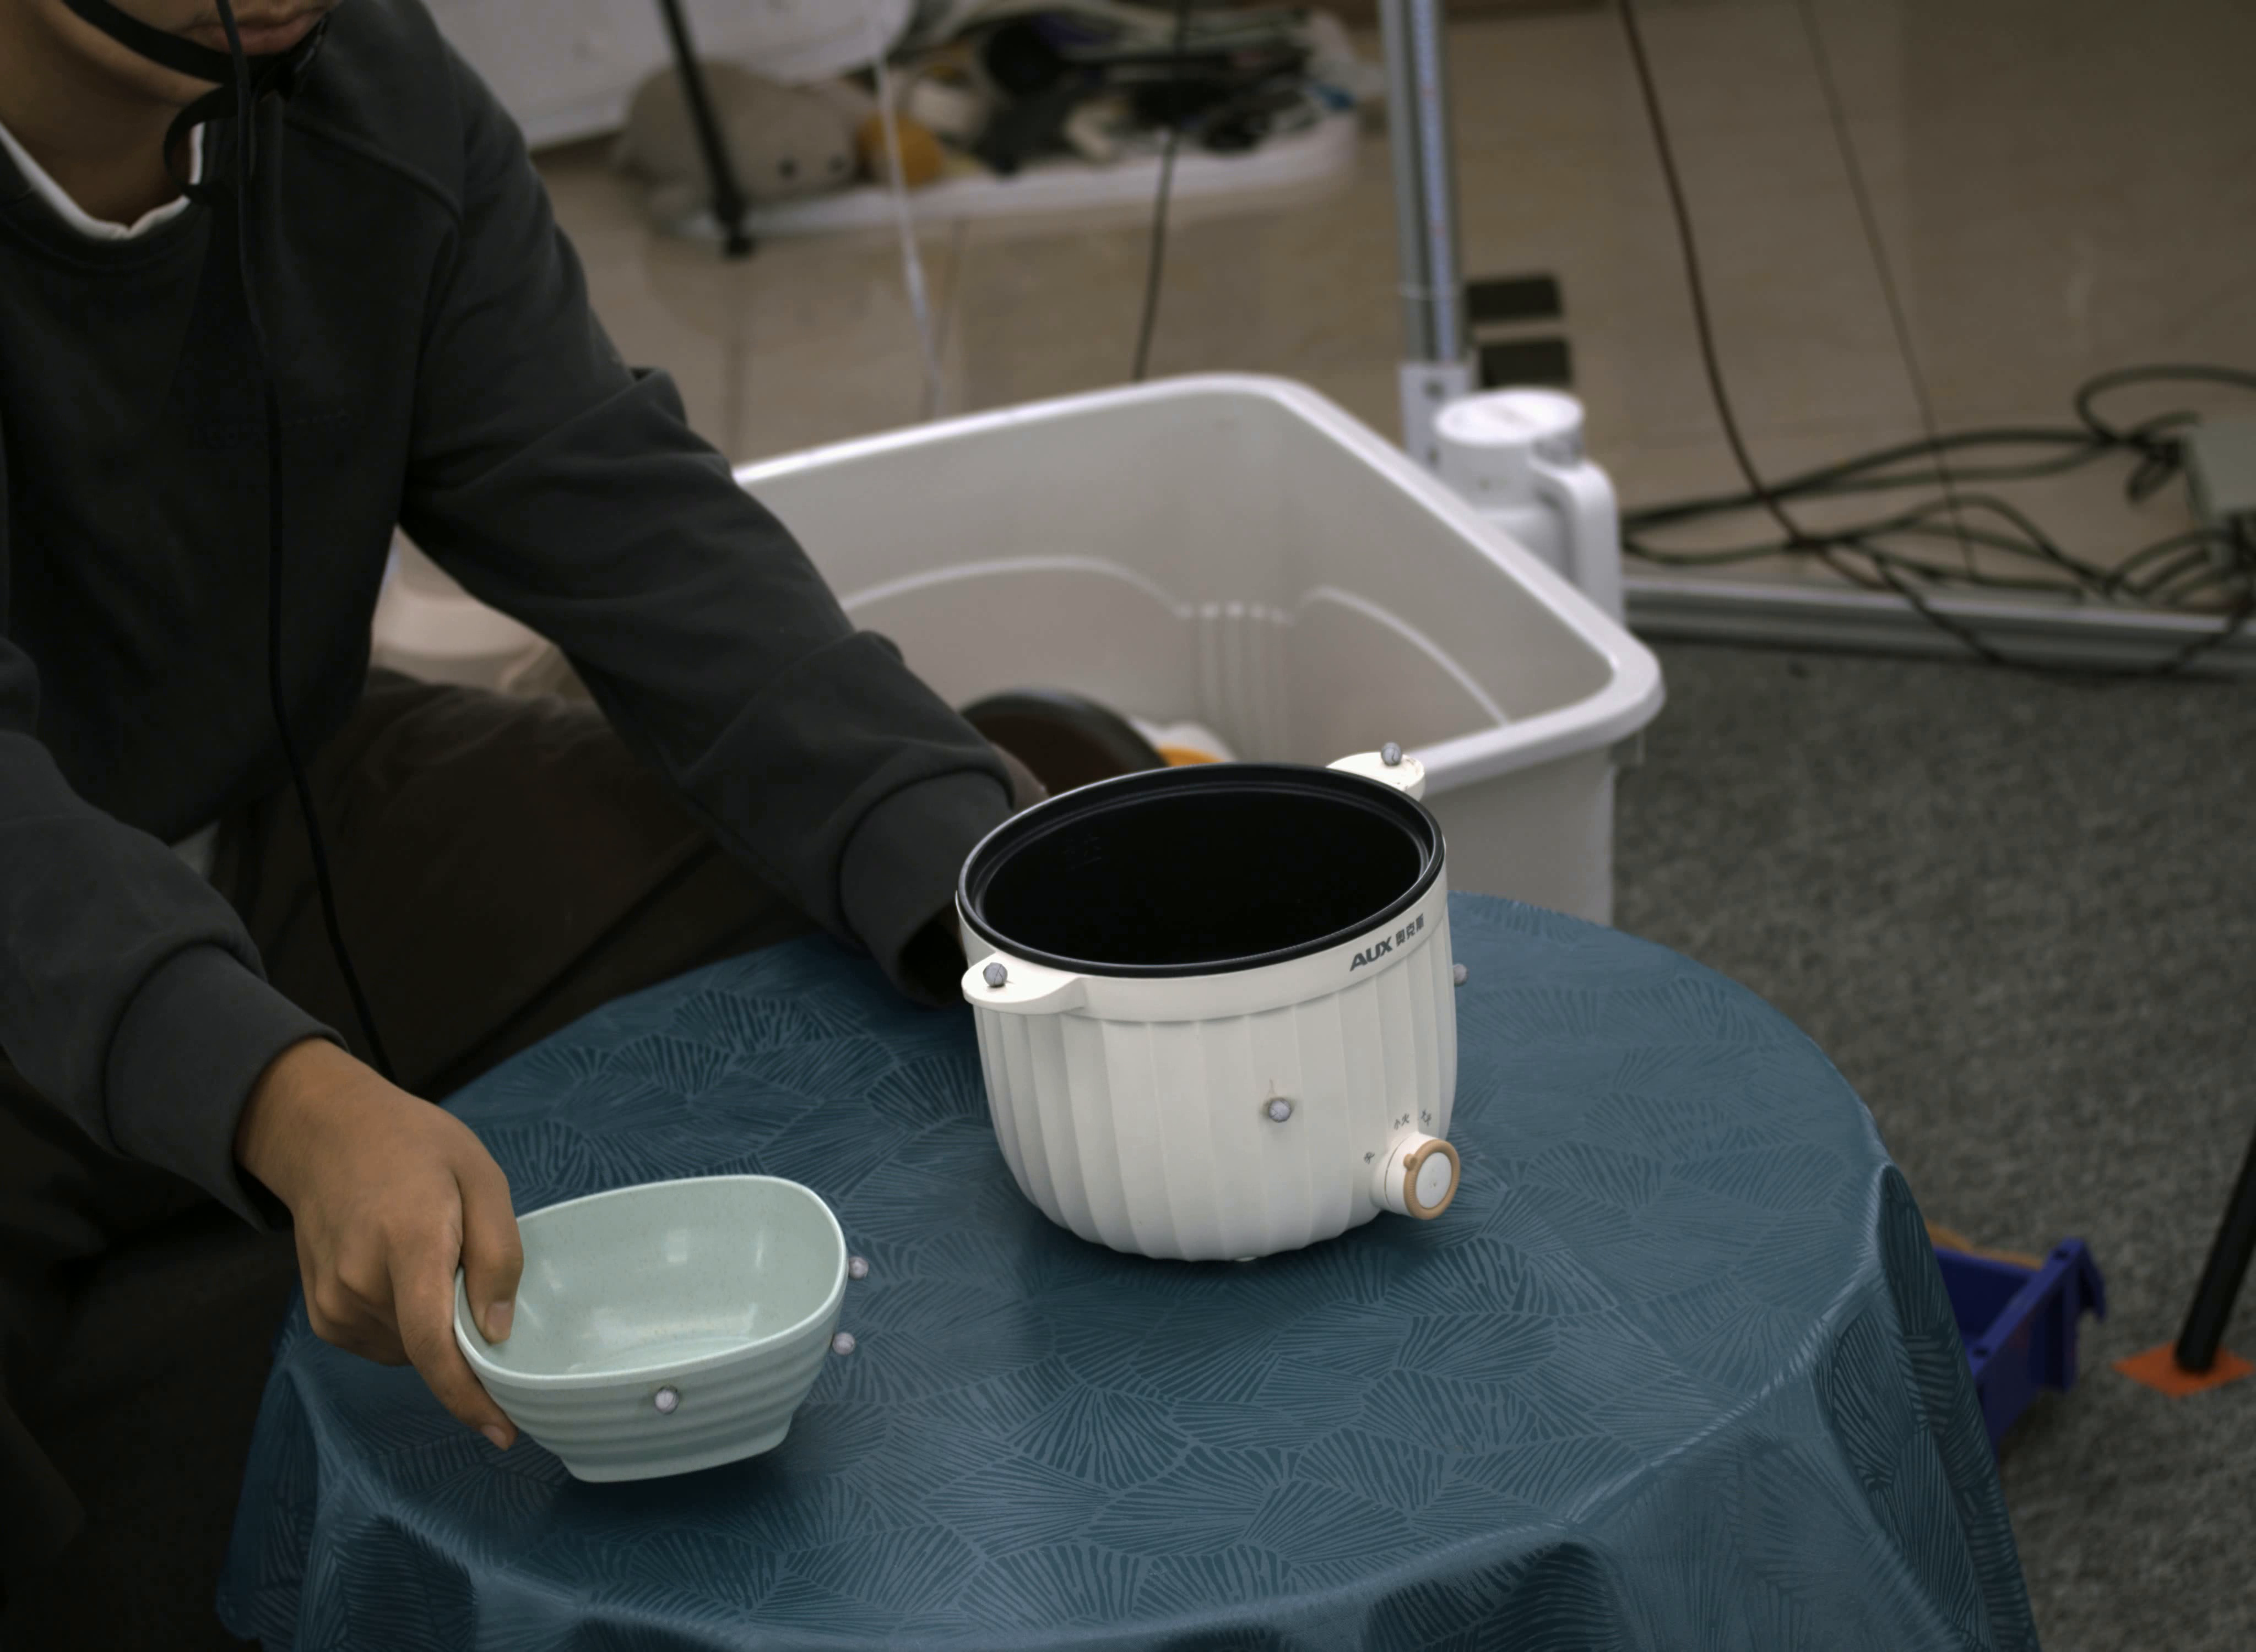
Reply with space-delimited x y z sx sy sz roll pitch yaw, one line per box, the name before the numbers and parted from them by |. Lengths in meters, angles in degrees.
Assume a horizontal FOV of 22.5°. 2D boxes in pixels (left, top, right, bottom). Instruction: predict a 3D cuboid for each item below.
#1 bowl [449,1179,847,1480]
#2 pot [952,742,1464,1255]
bowl | -0.165 0.181 1.985 0.151 0.059 0.149 -5 24 2
pot | 0.037 0.072 2.115 0.189 0.145 0.238 12 32 40
